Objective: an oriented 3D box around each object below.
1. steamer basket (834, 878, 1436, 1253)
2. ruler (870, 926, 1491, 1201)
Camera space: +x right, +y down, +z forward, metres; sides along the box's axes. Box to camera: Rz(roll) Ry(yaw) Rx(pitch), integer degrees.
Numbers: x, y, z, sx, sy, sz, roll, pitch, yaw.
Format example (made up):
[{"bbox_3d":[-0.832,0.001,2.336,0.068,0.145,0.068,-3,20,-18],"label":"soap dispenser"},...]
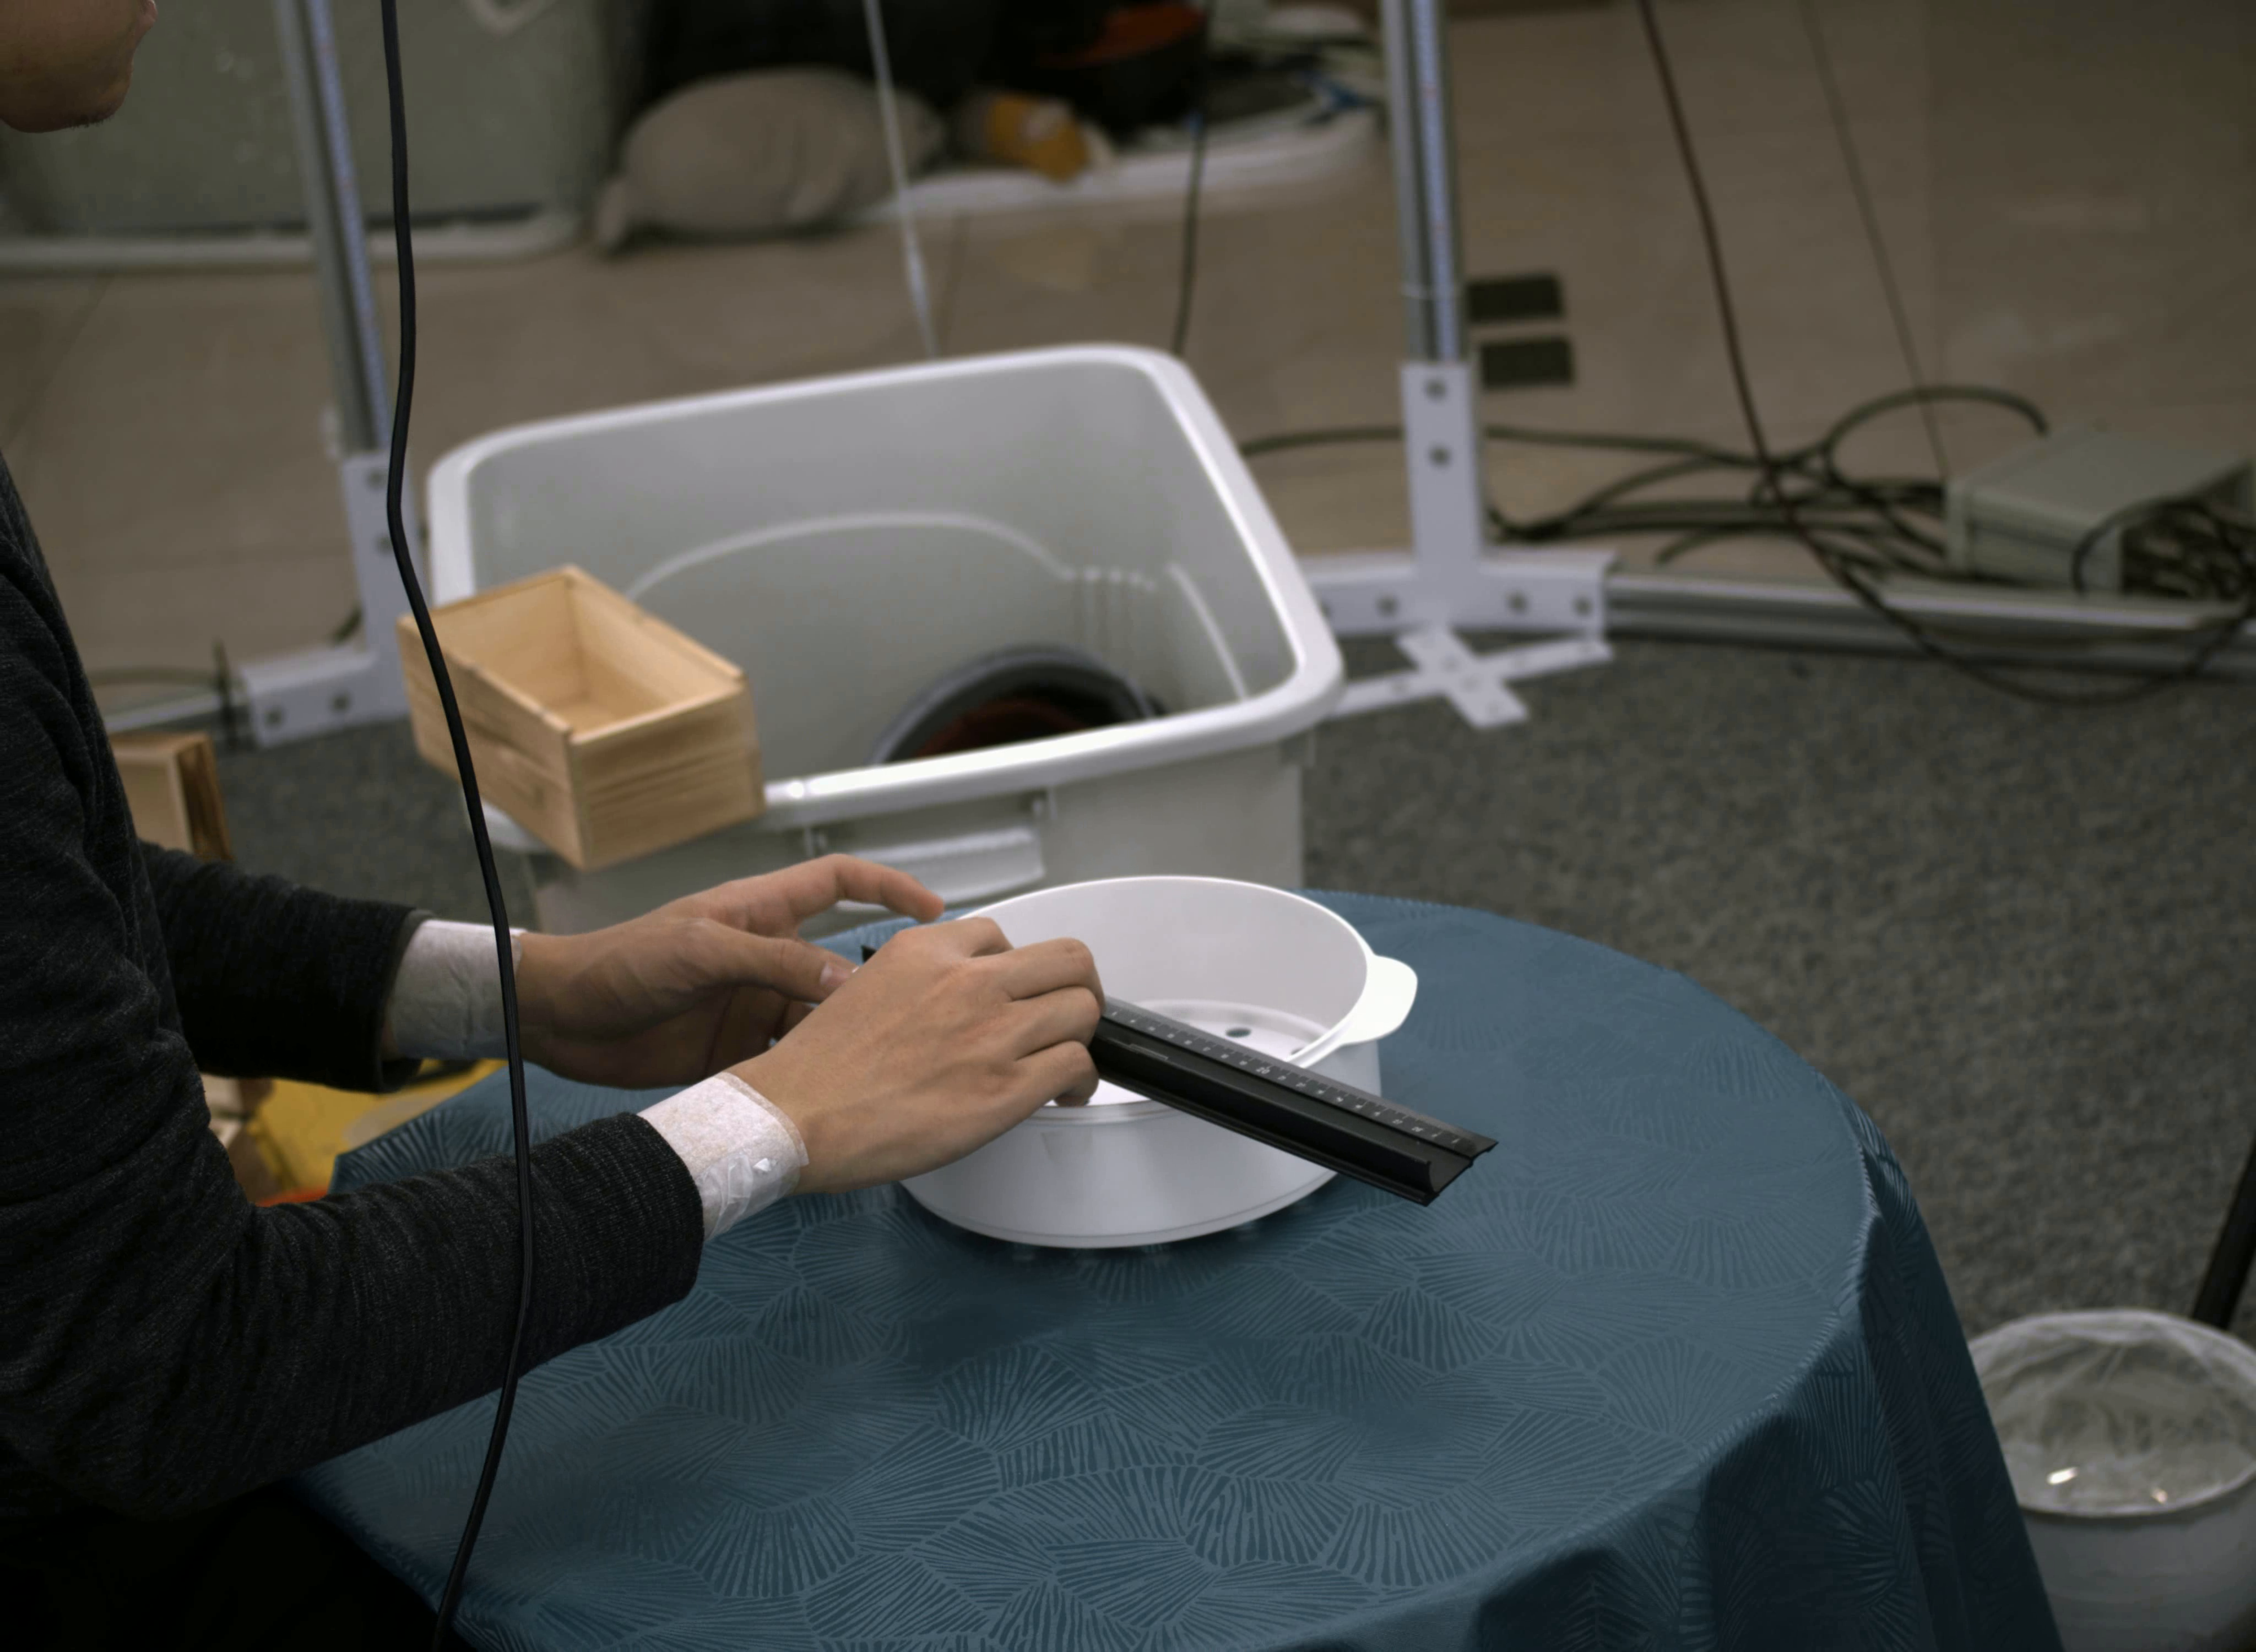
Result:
[{"bbox_3d":[0.004,0.091,2.168,0.230,0.070,0.199,2,26,13],"label":"steamer basket"},{"bbox_3d":[0.013,0.078,2.061,0.039,0.017,0.310,-37,35,-28],"label":"ruler"}]
